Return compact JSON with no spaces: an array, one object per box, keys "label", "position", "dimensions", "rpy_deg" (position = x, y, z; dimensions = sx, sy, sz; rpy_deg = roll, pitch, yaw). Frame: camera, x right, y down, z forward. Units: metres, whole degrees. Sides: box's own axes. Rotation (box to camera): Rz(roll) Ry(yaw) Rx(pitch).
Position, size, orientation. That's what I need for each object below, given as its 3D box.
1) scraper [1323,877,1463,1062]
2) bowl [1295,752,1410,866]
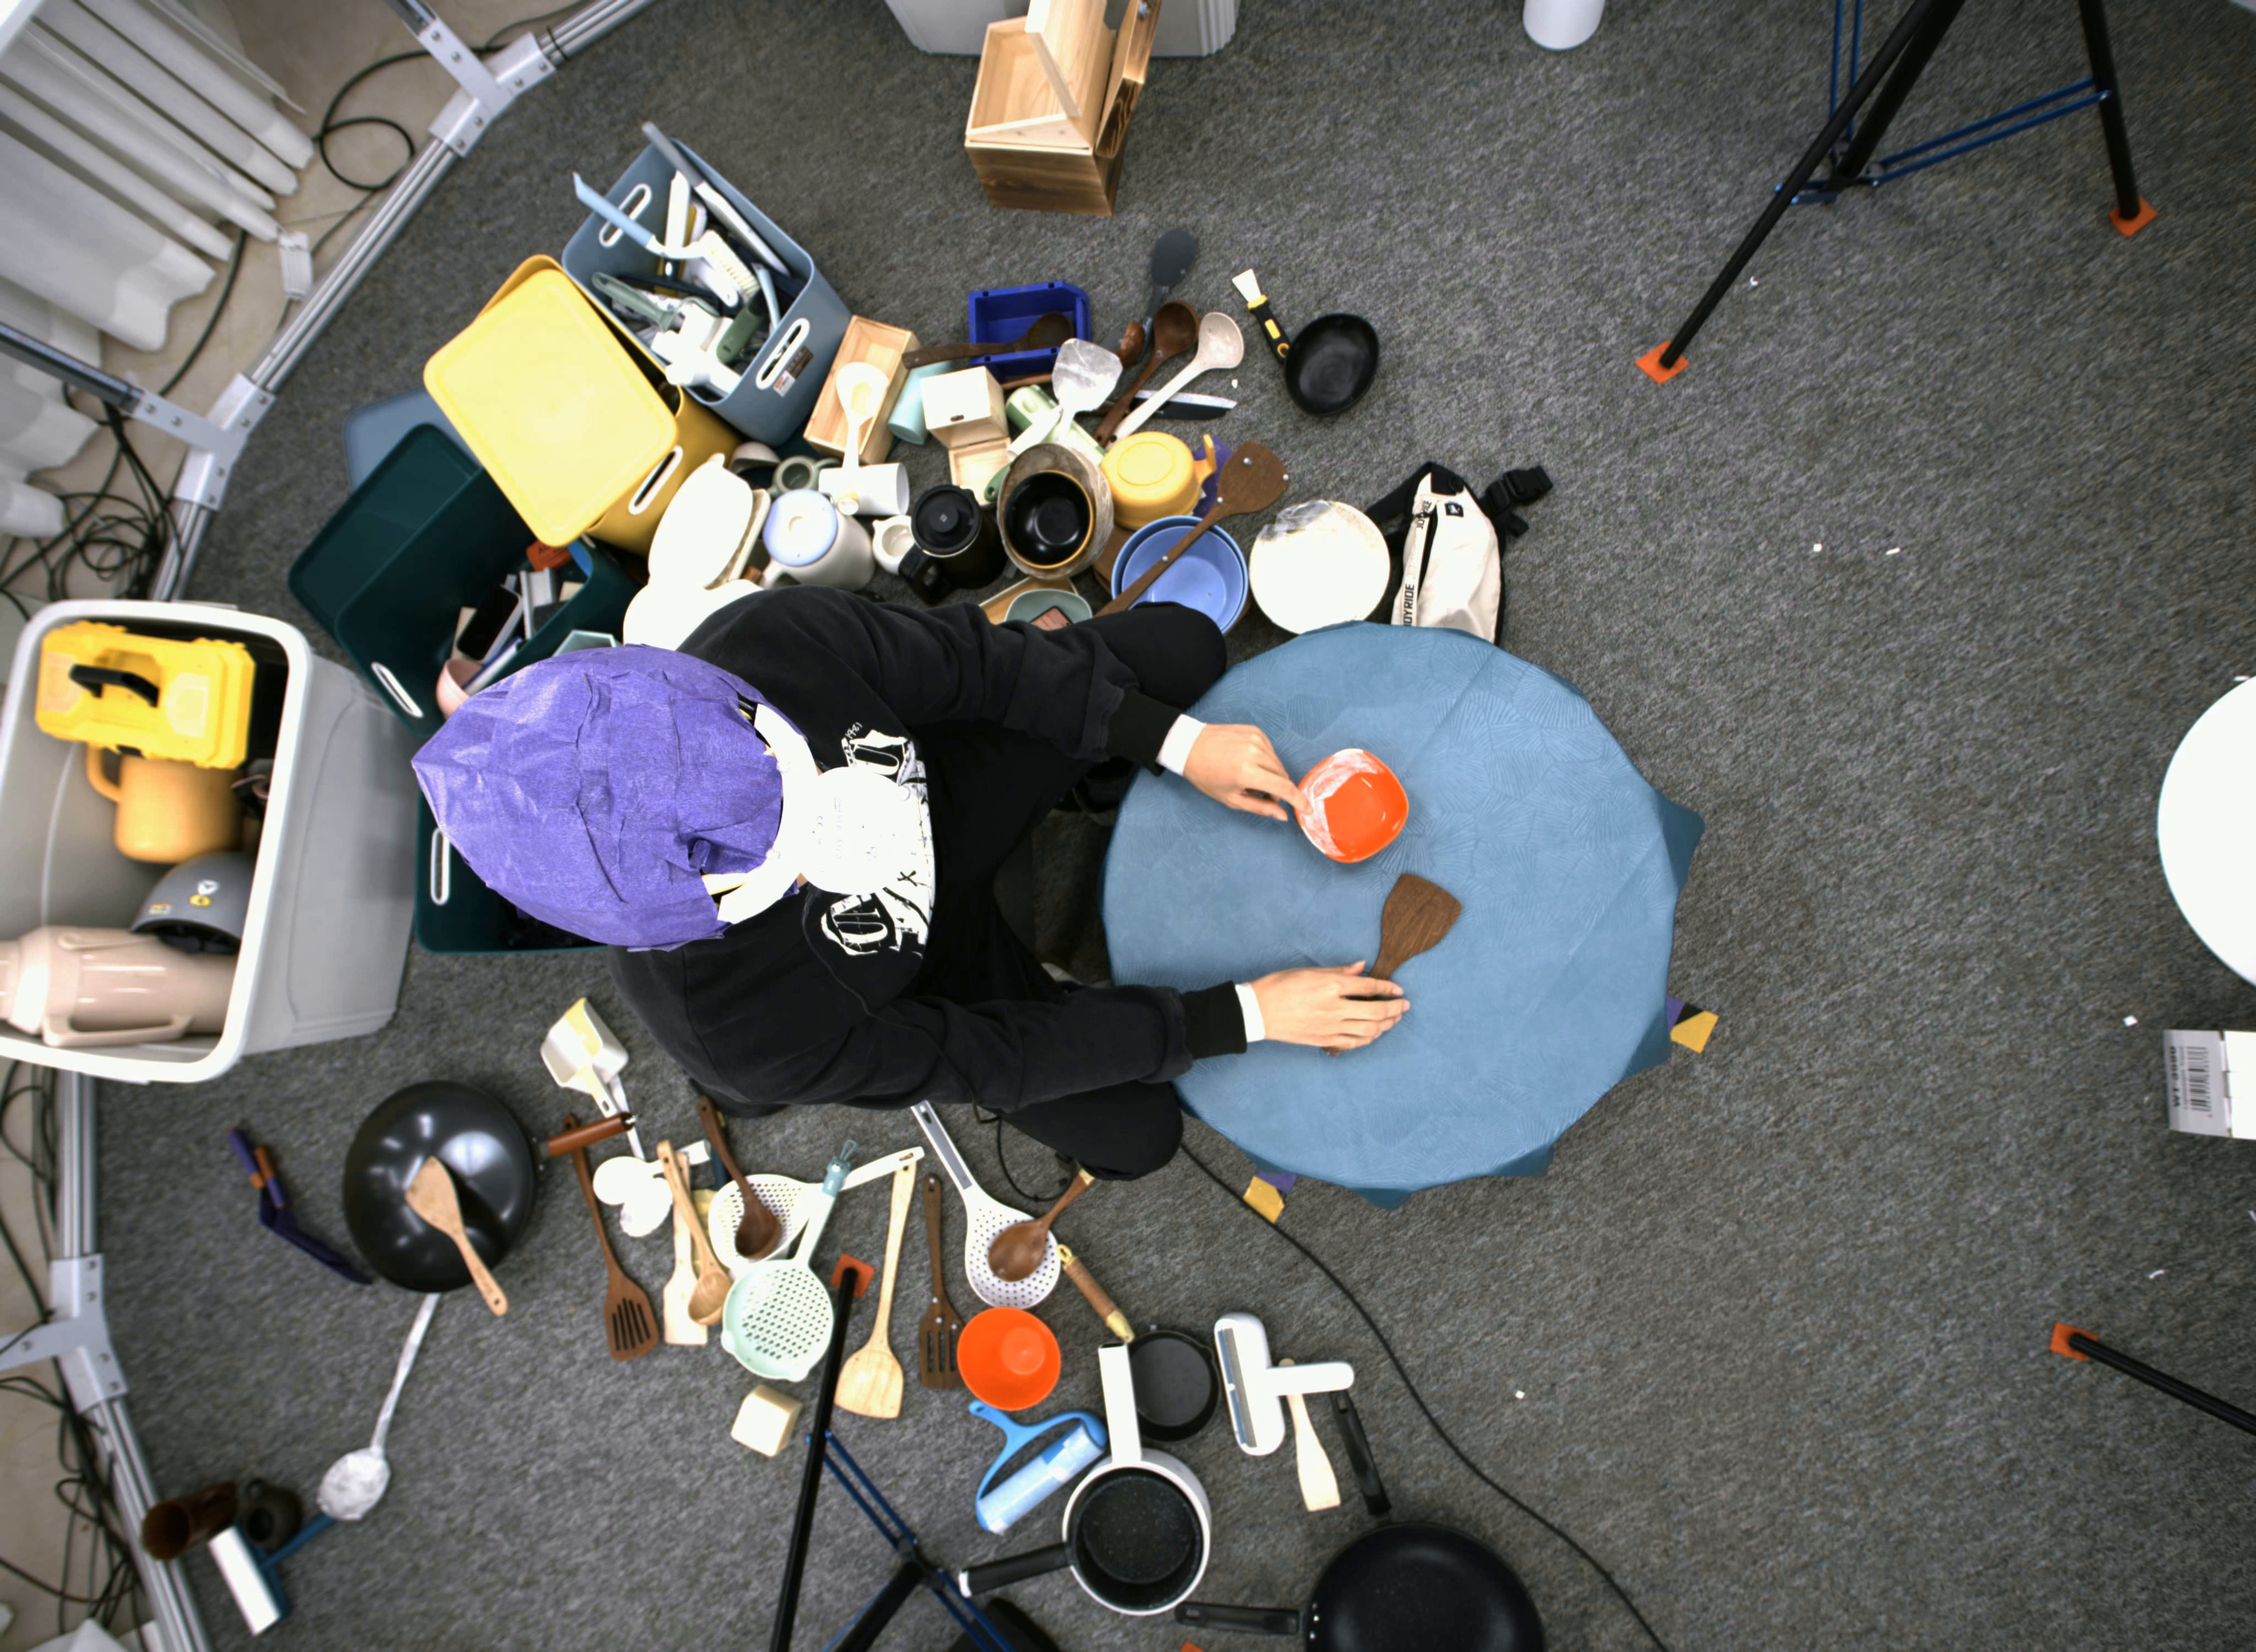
[{"label":"scraper","position":[0.270,0.154,1.455],"dimensions":[0.075,0.011,0.211],"rpy_deg":[32,93,12]},{"label":"bowl","position":[0.236,-0.017,1.452],"dimensions":[0.119,0.051,0.118],"rpy_deg":[-1,87,9]}]
